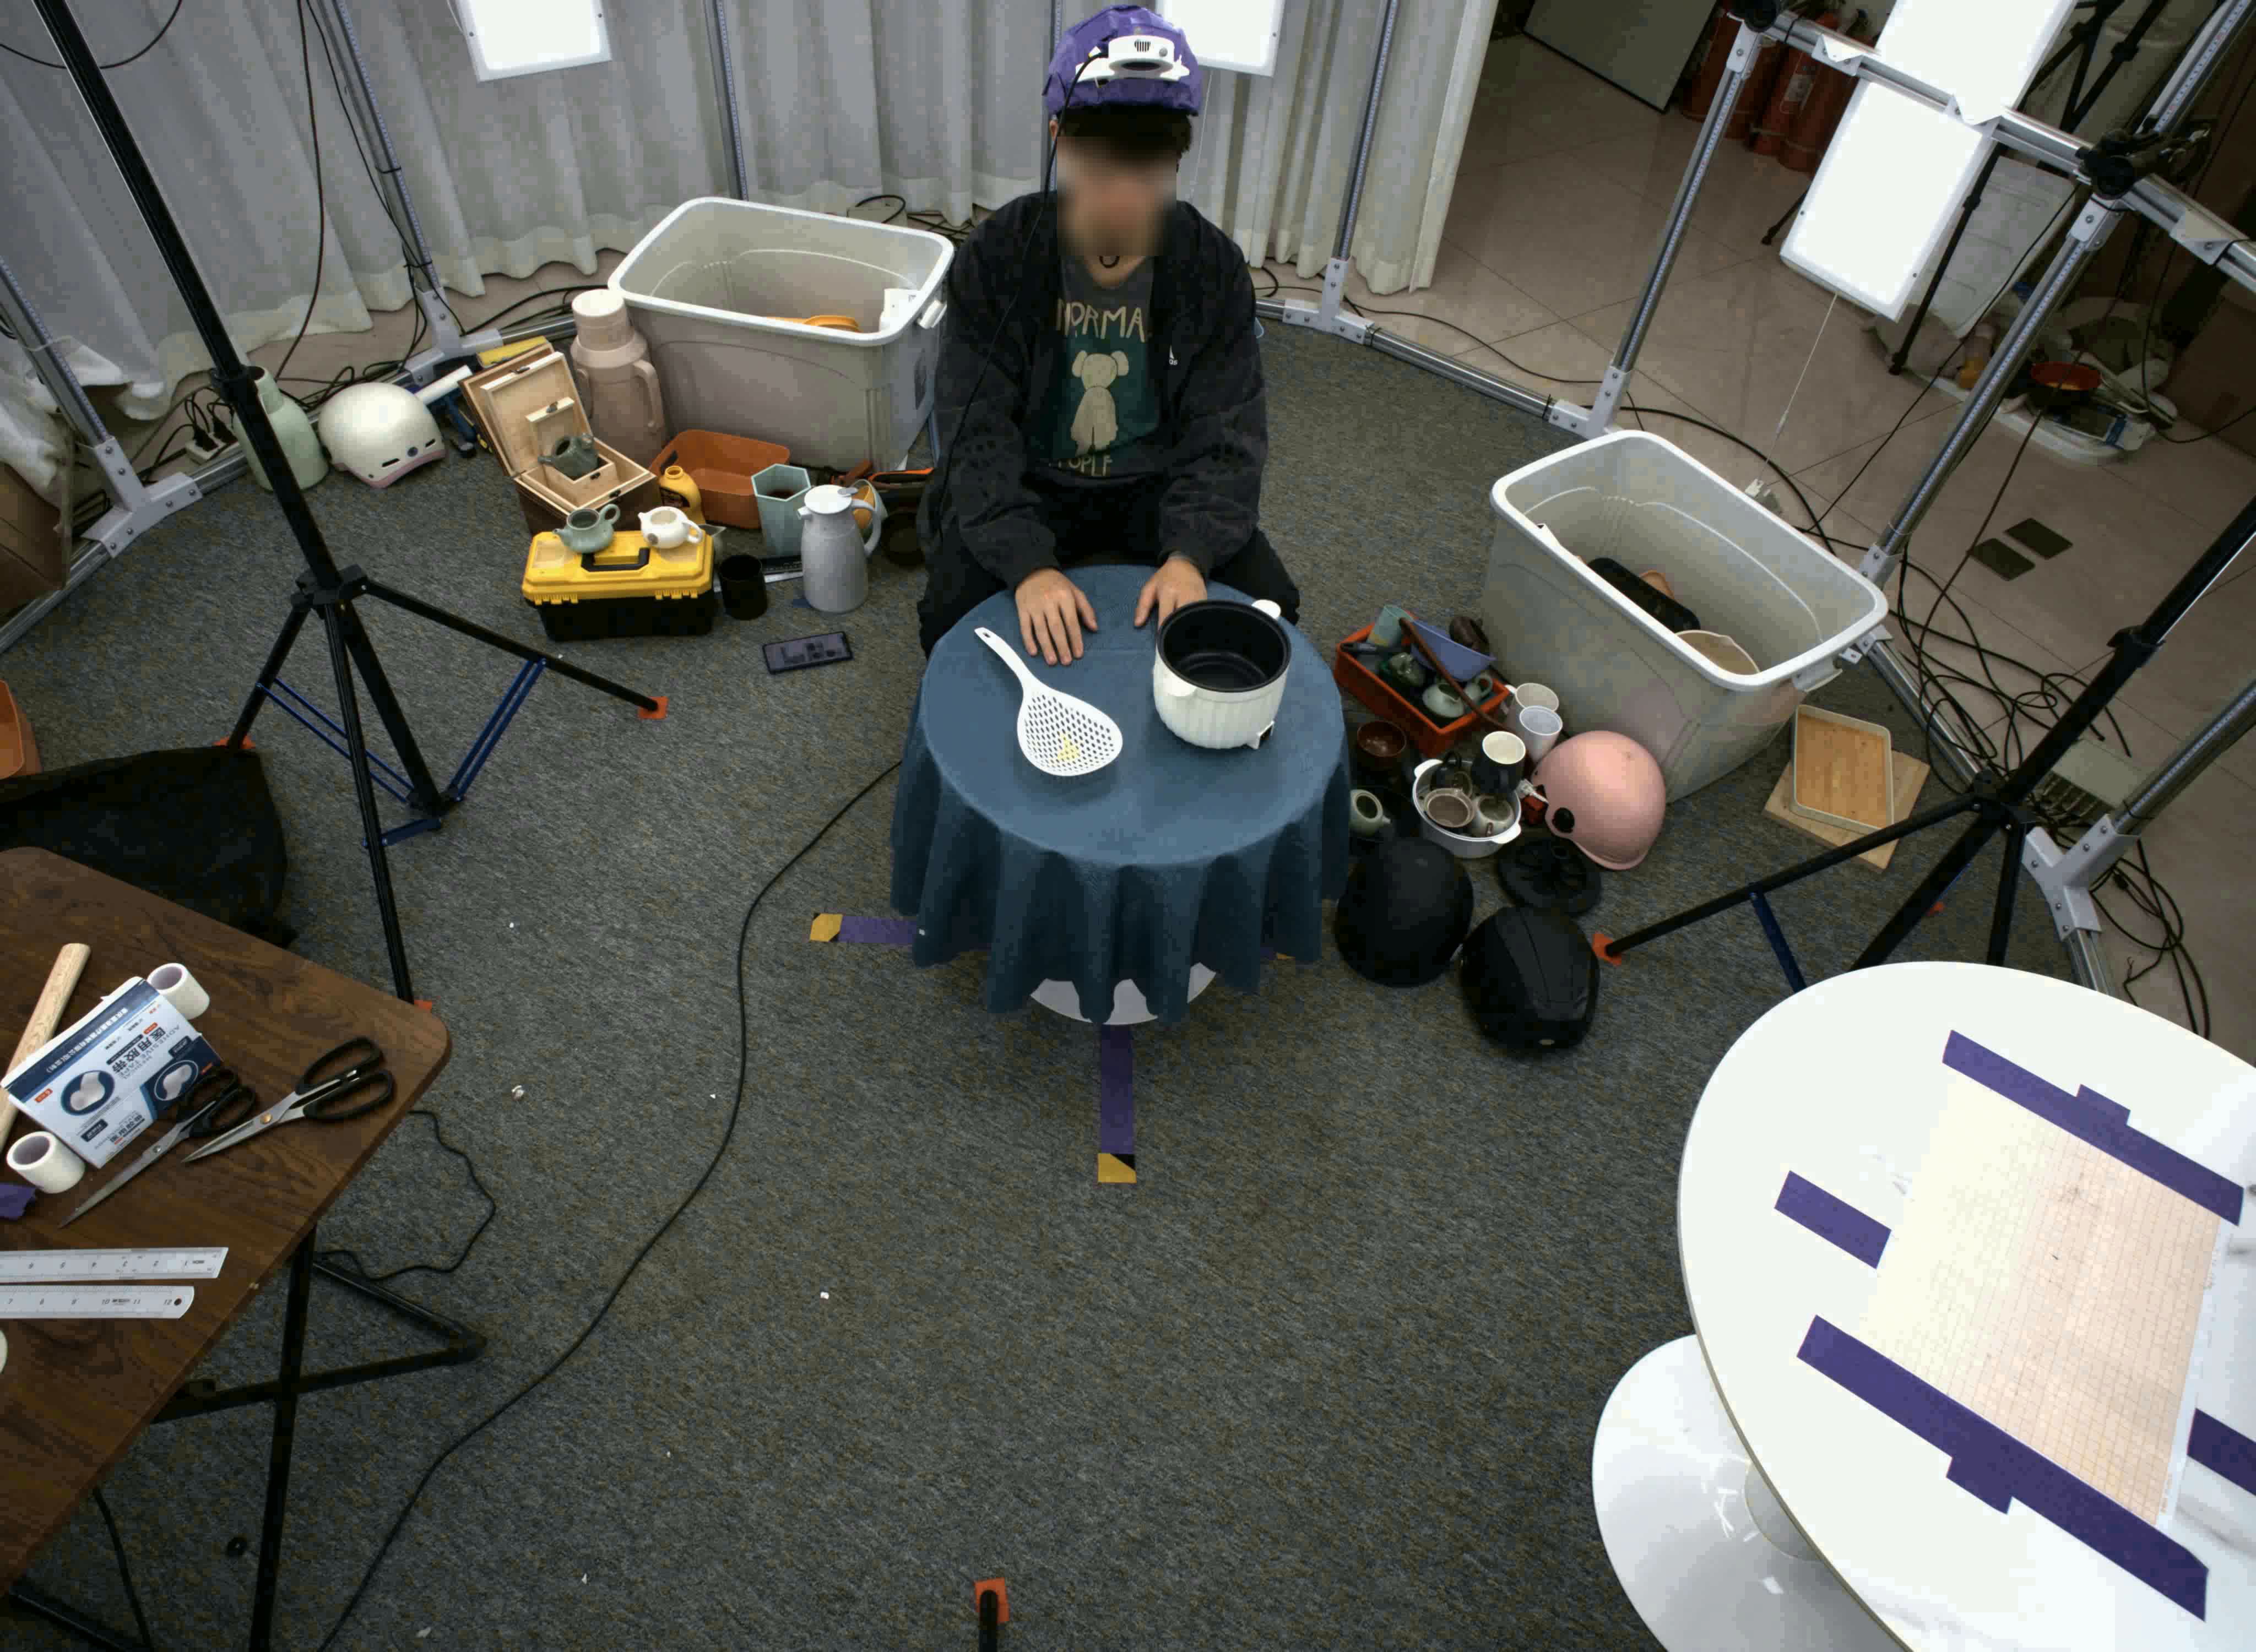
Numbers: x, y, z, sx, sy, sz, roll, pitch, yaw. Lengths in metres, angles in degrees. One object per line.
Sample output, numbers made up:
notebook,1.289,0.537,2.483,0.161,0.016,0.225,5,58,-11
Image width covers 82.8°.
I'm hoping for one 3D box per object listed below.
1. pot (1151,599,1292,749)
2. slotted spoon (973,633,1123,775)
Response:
pot,0.119,-0.203,1.761,0.192,0.139,0.243,33,53,20
slotted spoon,-0.131,-0.182,1.789,0.137,0.049,0.355,-22,54,-19
